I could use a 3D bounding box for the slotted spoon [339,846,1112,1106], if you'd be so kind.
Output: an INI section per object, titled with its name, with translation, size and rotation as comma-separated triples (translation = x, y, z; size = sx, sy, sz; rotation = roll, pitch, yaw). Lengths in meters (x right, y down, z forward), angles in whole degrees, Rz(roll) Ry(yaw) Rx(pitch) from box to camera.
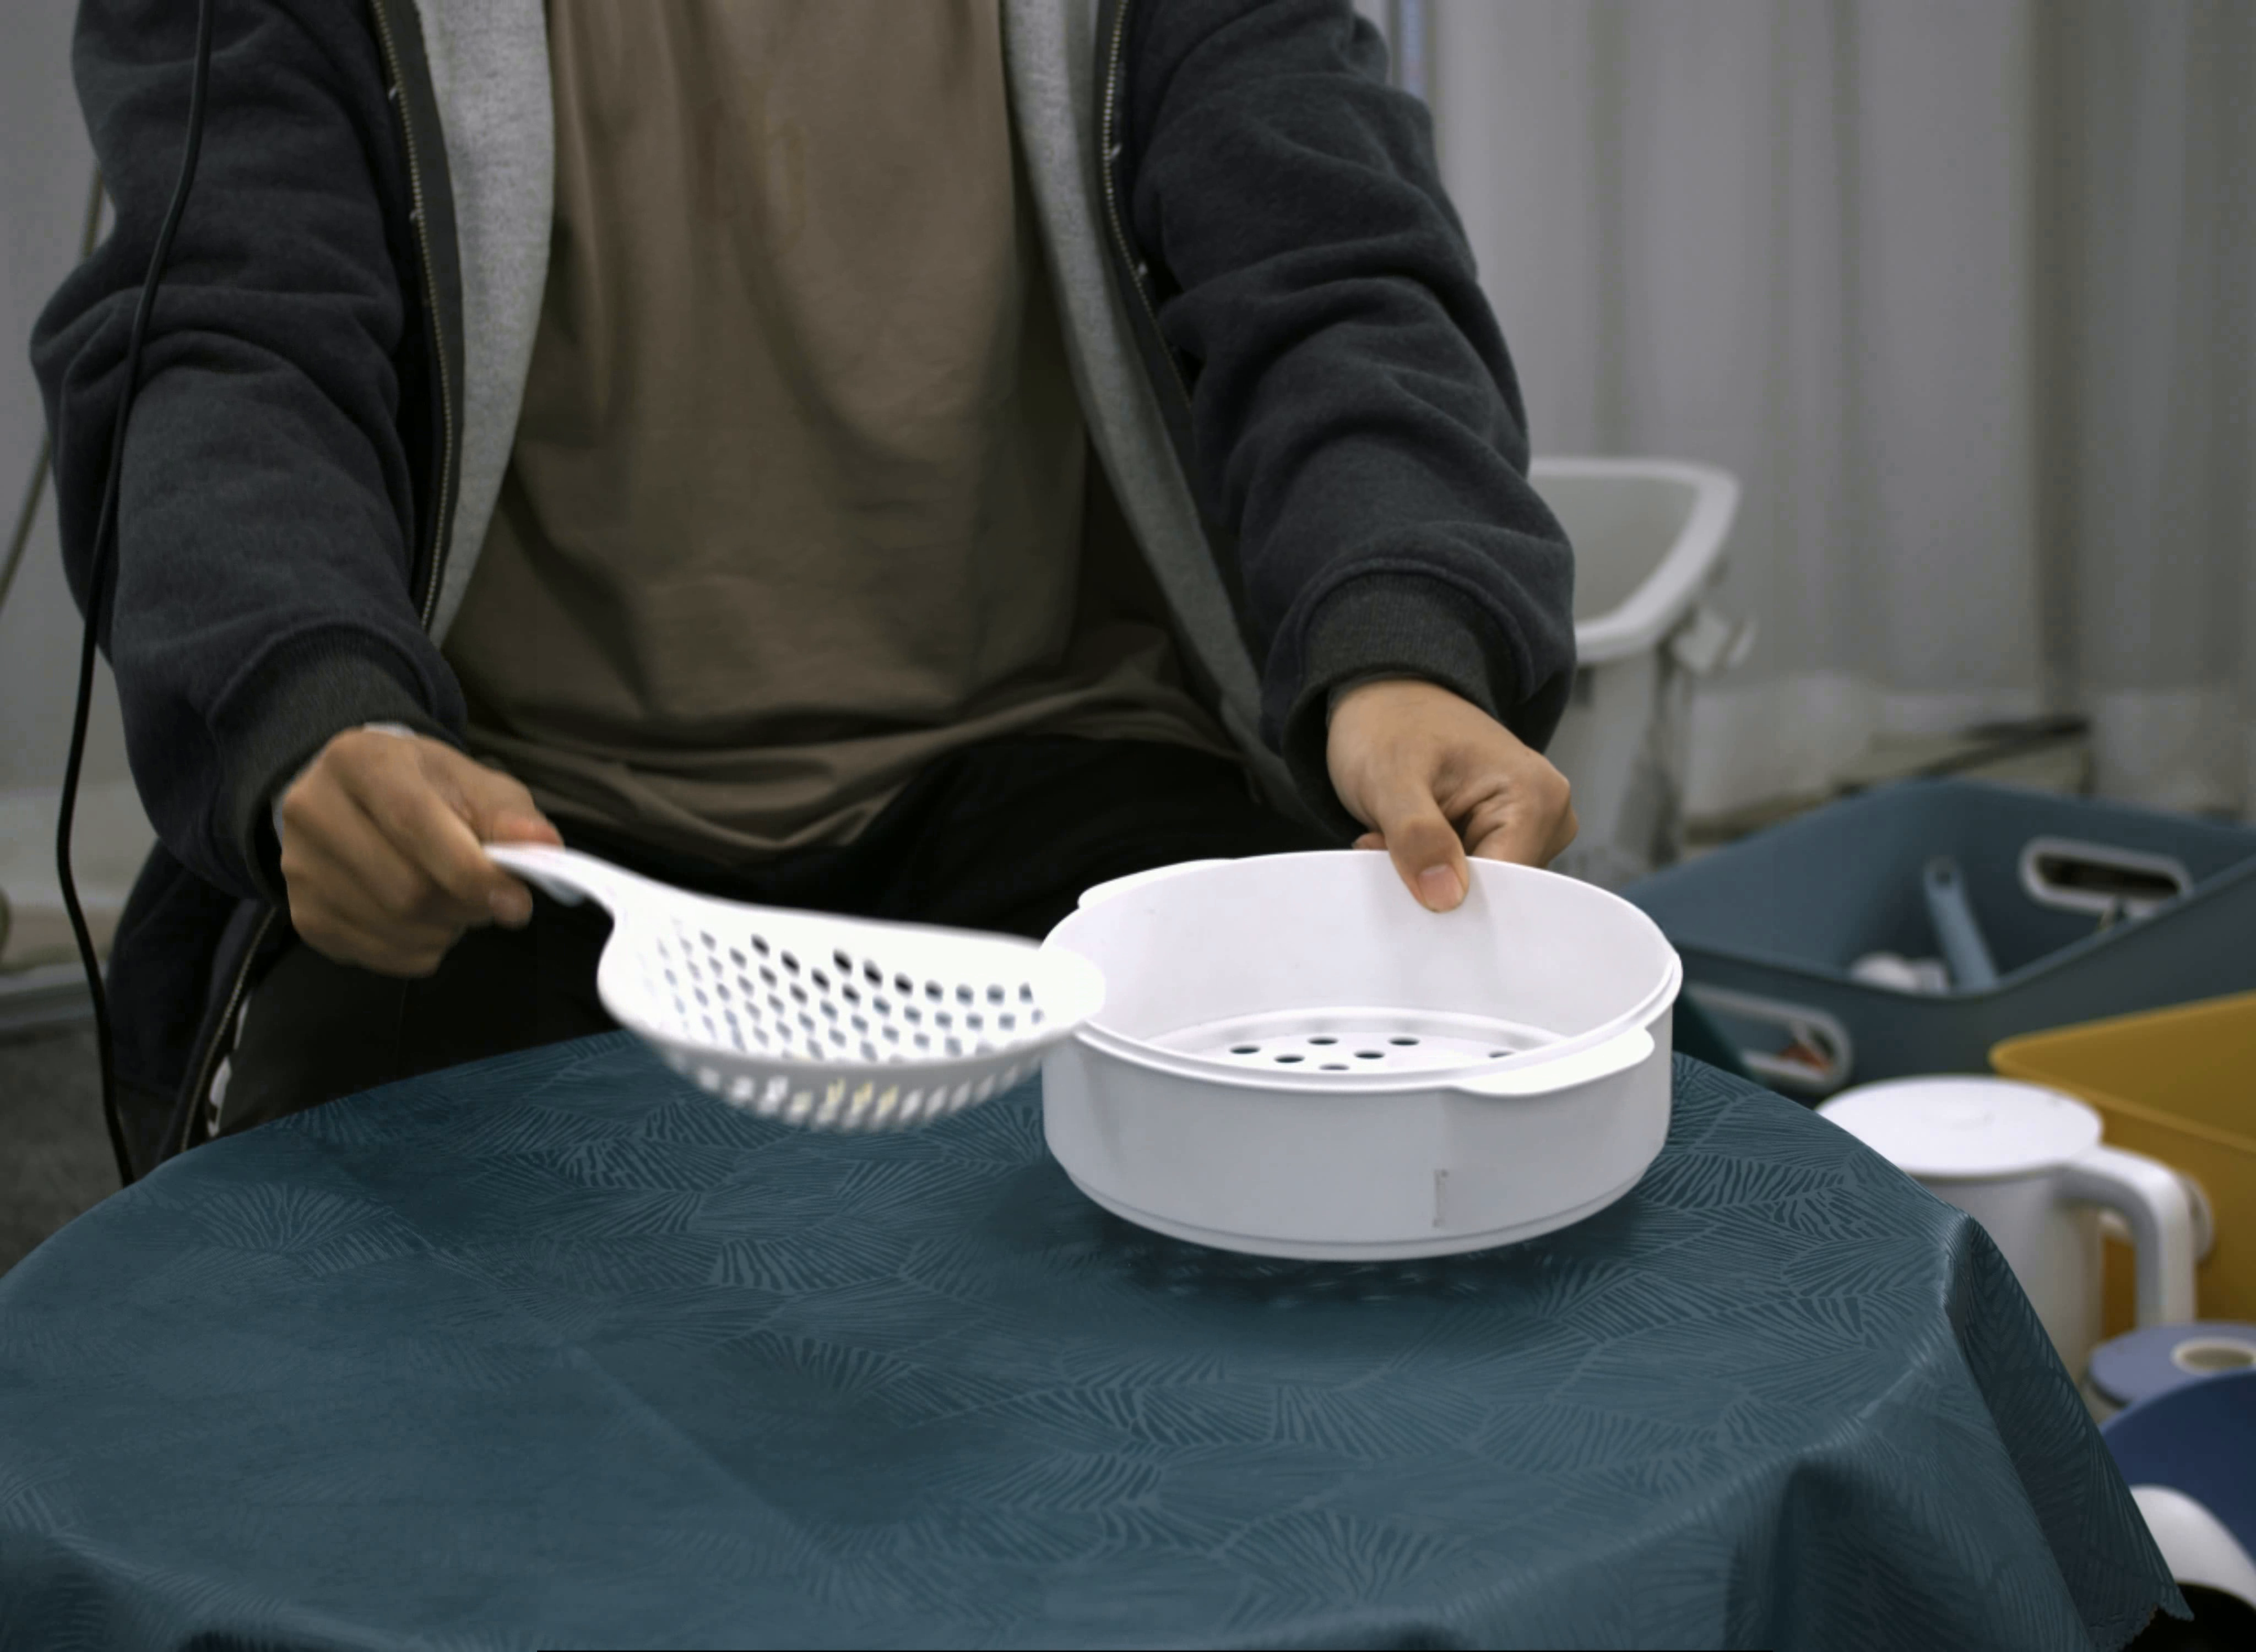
[slotted spoon]
translation = -0.139, 0.031, 1.617
size = 0.136, 0.050, 0.350
rotation = -13, 21, -34

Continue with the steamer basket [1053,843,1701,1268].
[steamer basket]
translation = 0.074, 0.070, 1.677
size = 0.201, 0.069, 0.232
rotation = -13, 25, -33
